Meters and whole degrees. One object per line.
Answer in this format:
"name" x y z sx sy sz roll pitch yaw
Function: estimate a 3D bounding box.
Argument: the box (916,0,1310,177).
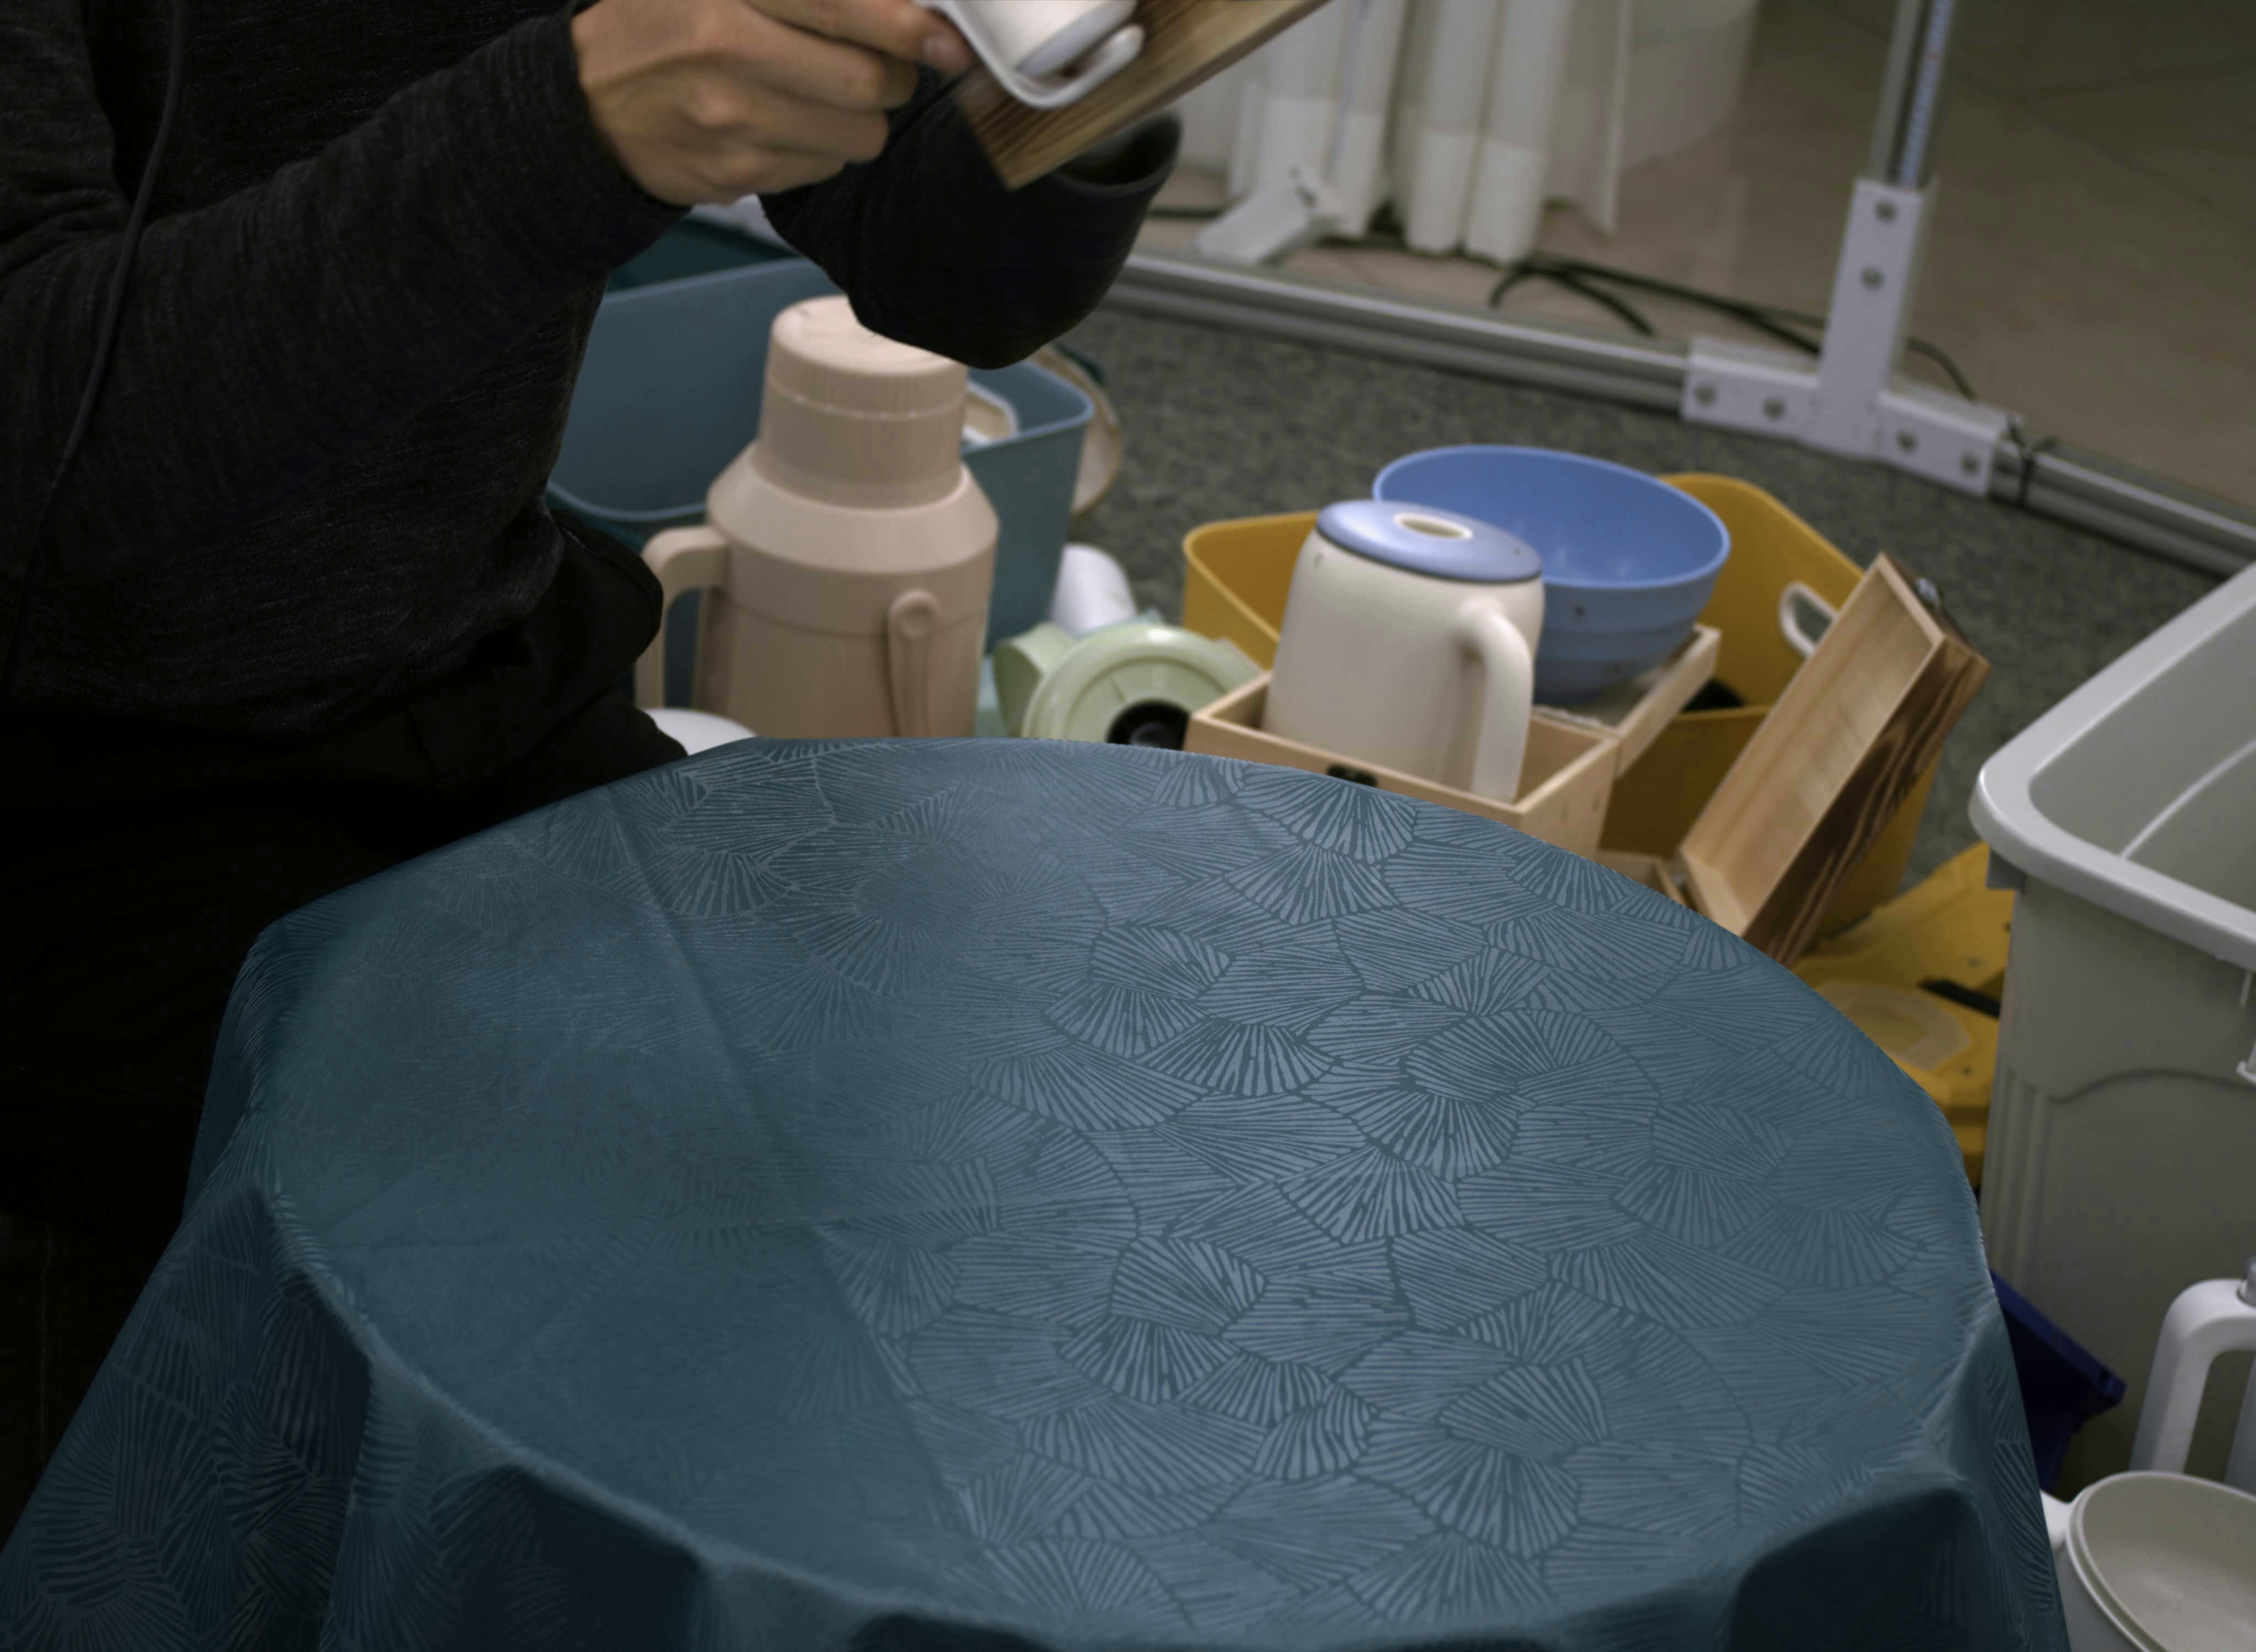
"box" 0.015 -0.289 1.613 0.080 0.107 0.212 -33 5 -30

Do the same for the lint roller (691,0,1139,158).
"lint roller" -0.087 -0.253 1.626 0.133 0.181 0.050 58 38 -1
